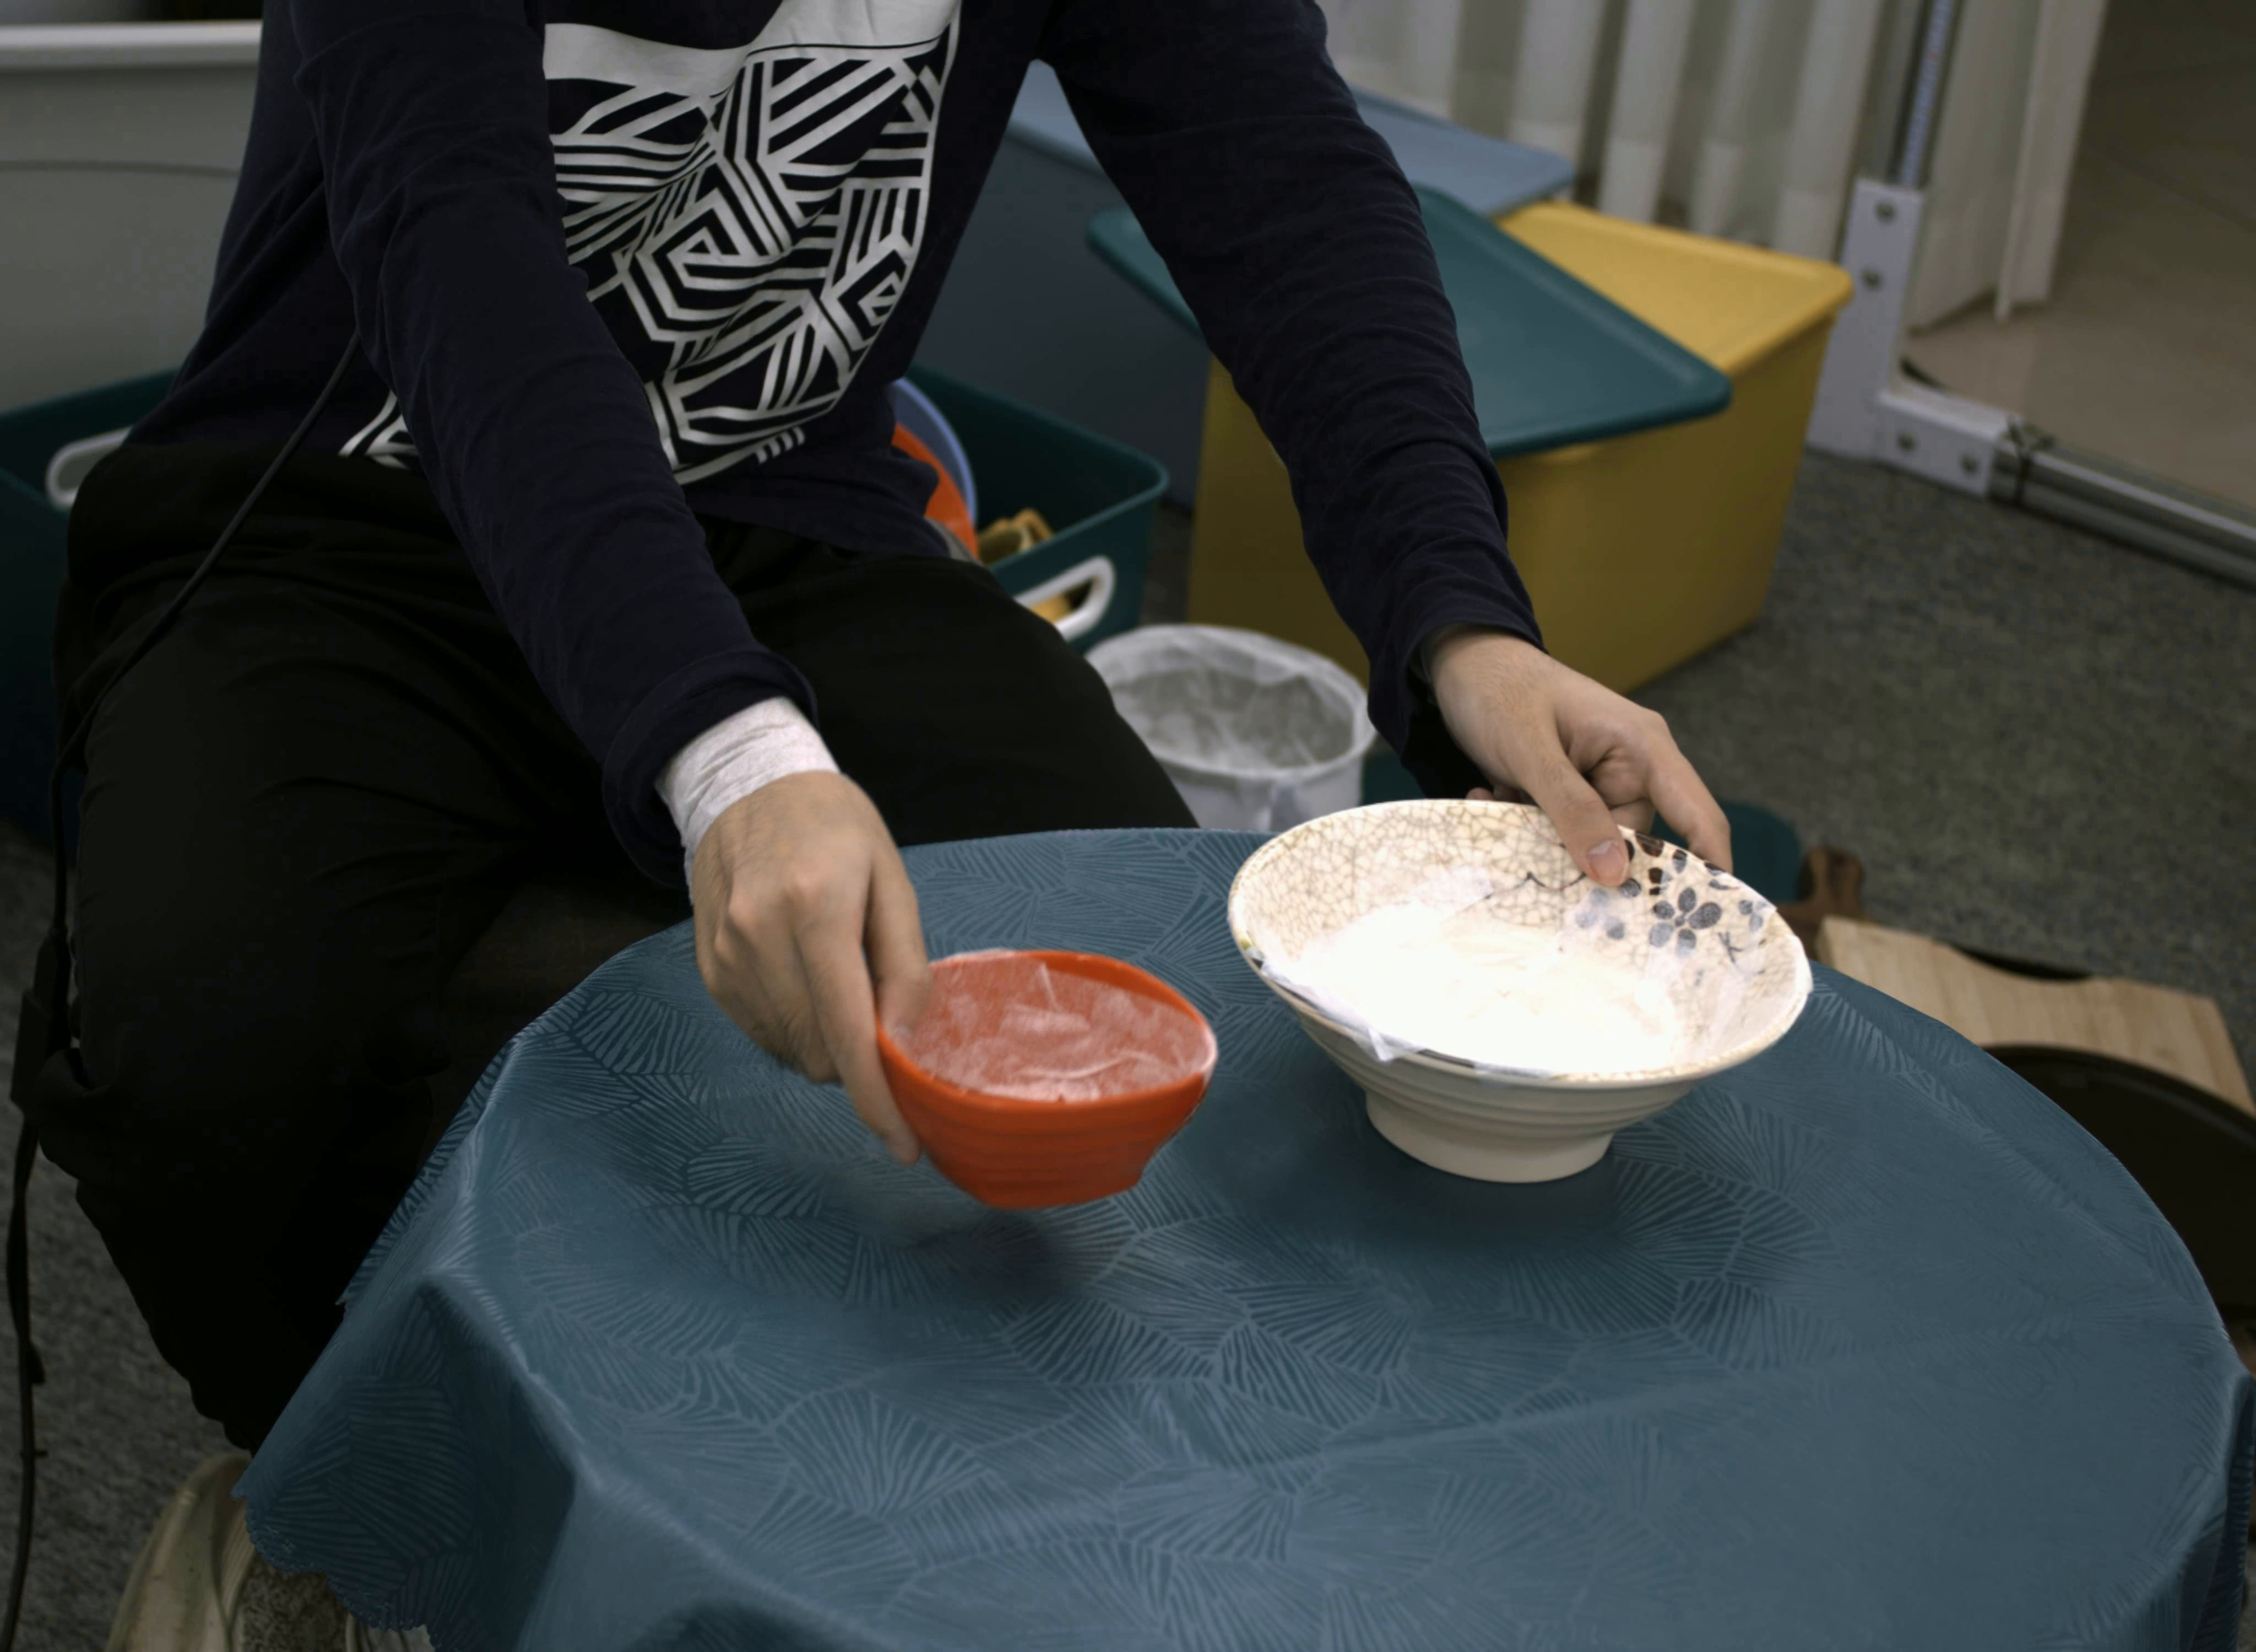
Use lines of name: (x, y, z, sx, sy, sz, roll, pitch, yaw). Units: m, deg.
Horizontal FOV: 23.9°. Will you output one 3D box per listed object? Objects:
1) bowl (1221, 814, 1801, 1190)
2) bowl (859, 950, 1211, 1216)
bowl: (0.128, 0.073, 1.853, 0.203, 0.078, 0.205, 6, 23, -3)
bowl: (-0.032, 0.088, 1.750, 0.118, 0.051, 0.119, 3, 26, -2)
